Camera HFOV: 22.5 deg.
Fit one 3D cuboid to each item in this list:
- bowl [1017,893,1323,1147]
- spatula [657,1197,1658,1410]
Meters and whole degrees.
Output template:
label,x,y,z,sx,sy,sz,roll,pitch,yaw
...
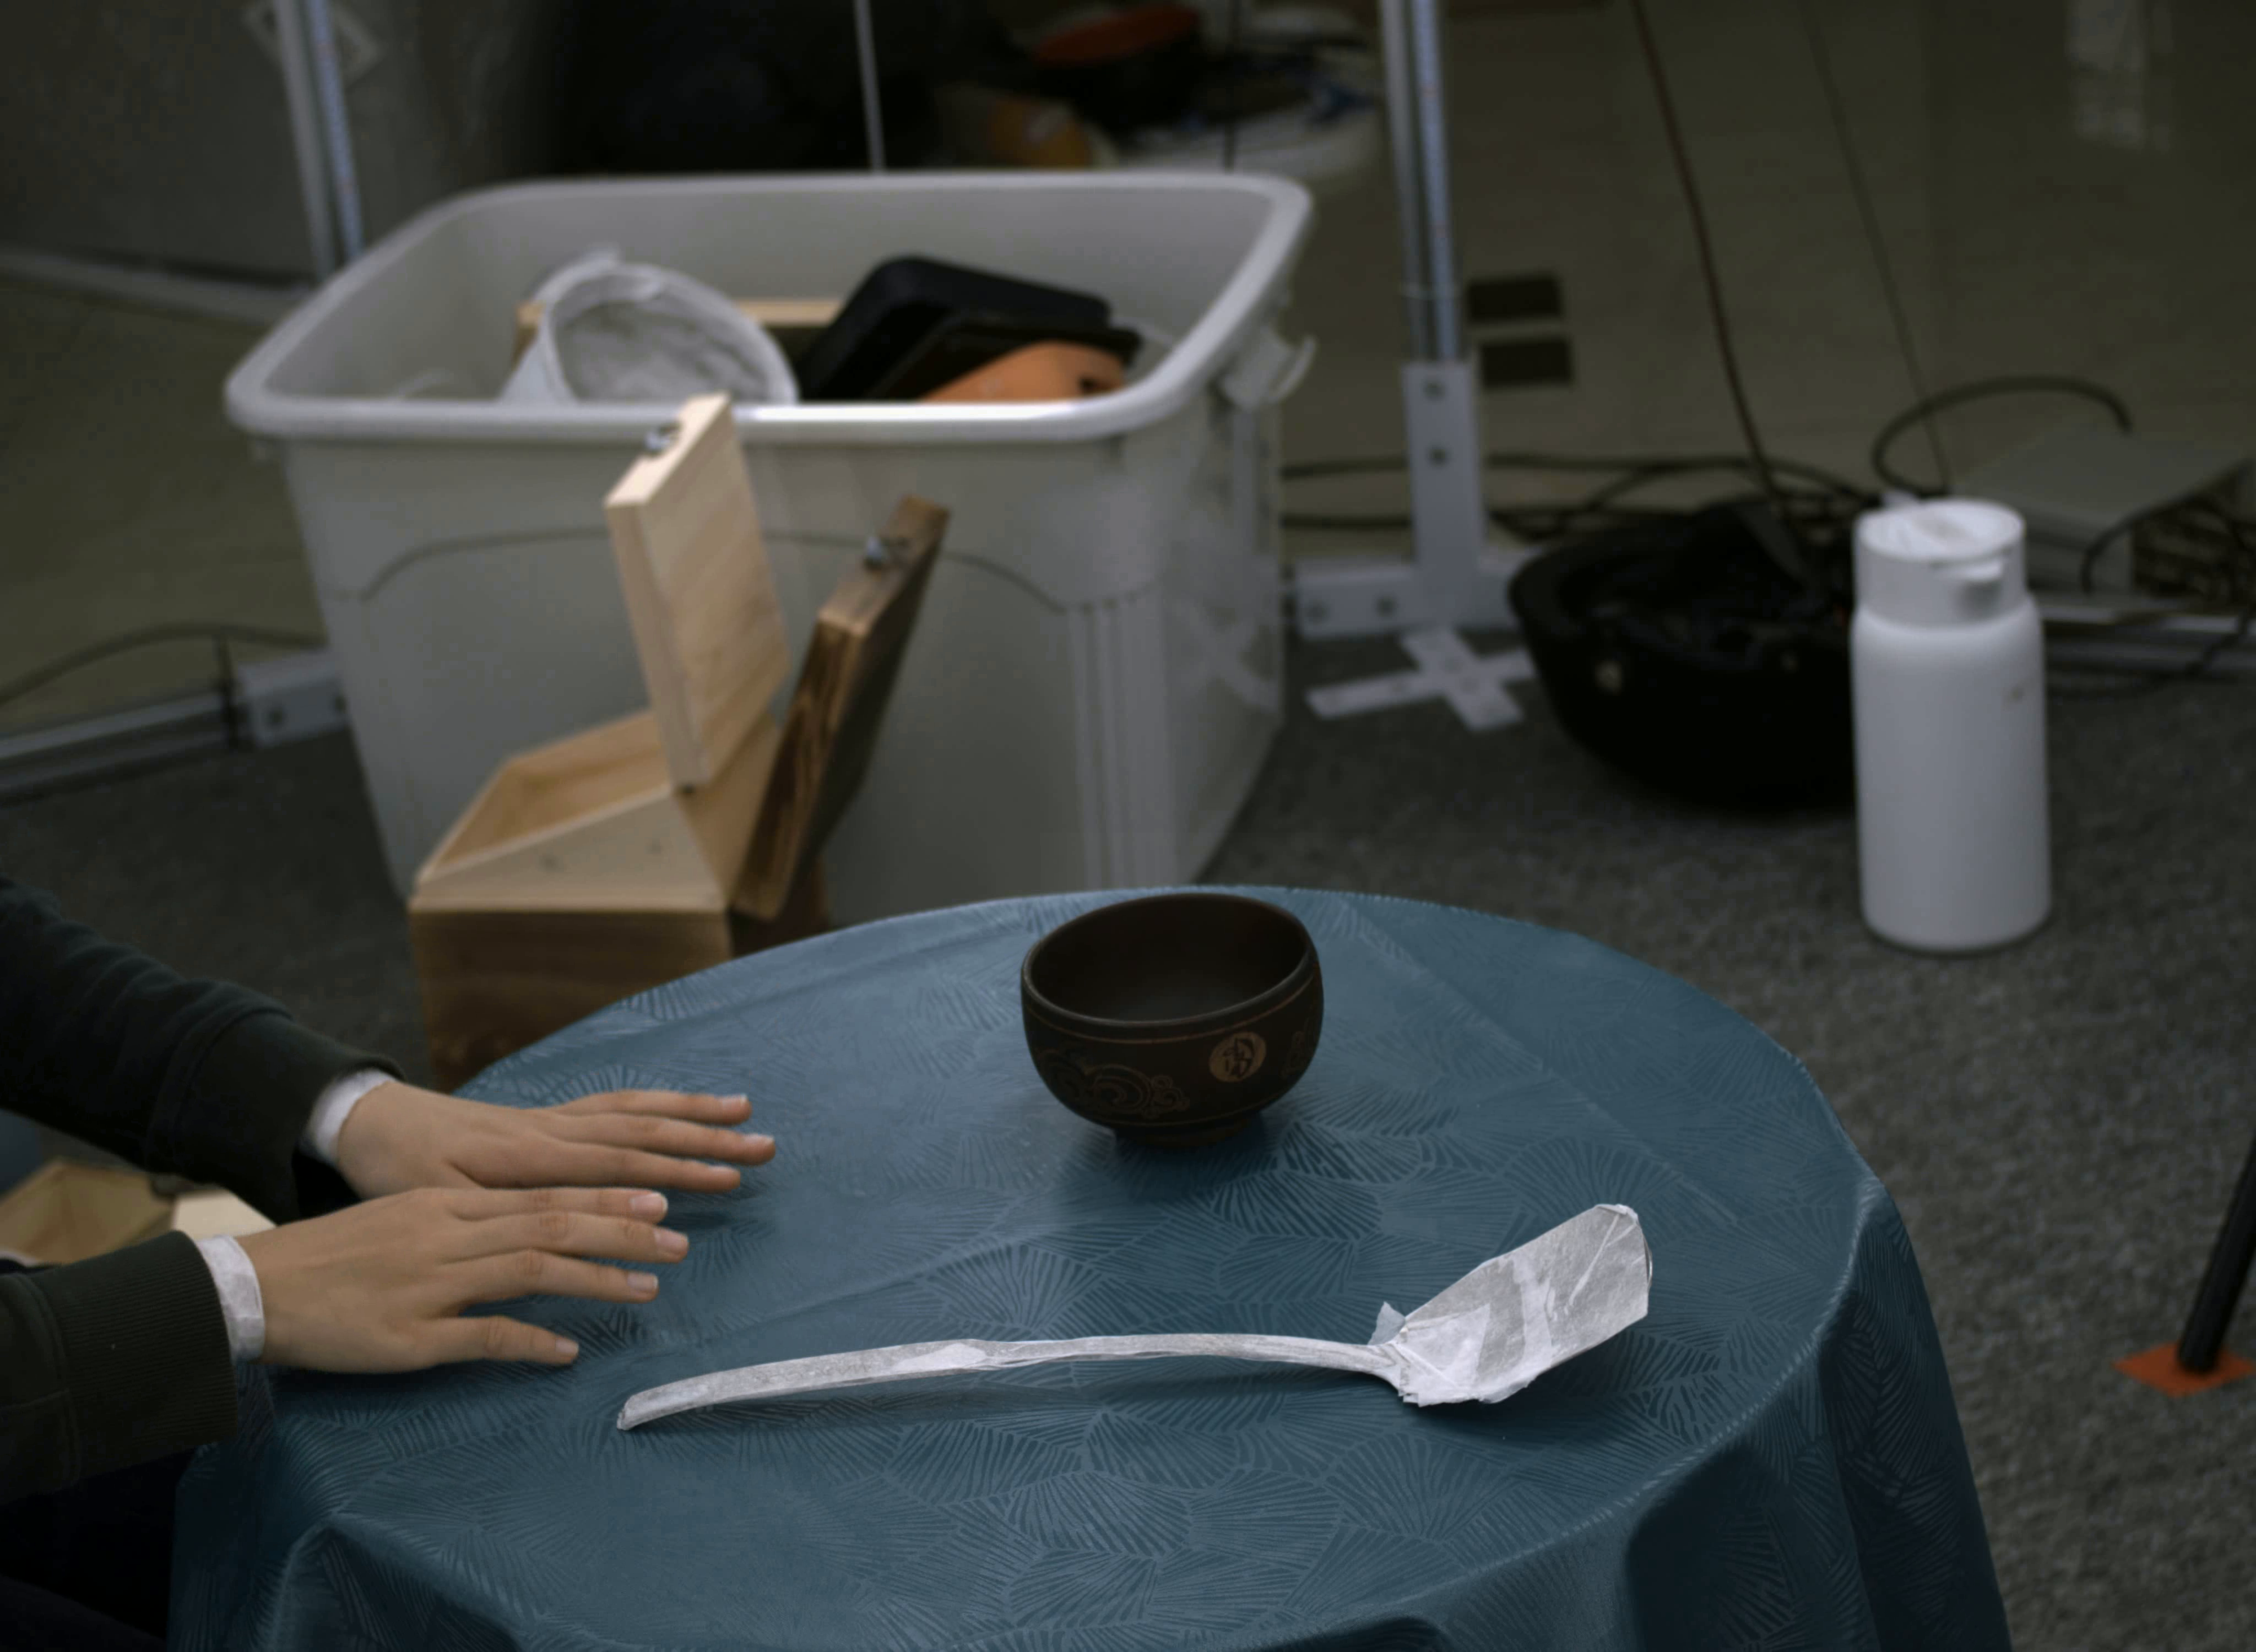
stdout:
label,x,y,z,sx,sy,sz,roll,pitch,yaw
bowl,0.018,0.081,2.188,0.118,0.071,0.116,-6,23,3
spatula,0.007,0.180,2.016,0.364,0.045,0.097,-3,27,6
